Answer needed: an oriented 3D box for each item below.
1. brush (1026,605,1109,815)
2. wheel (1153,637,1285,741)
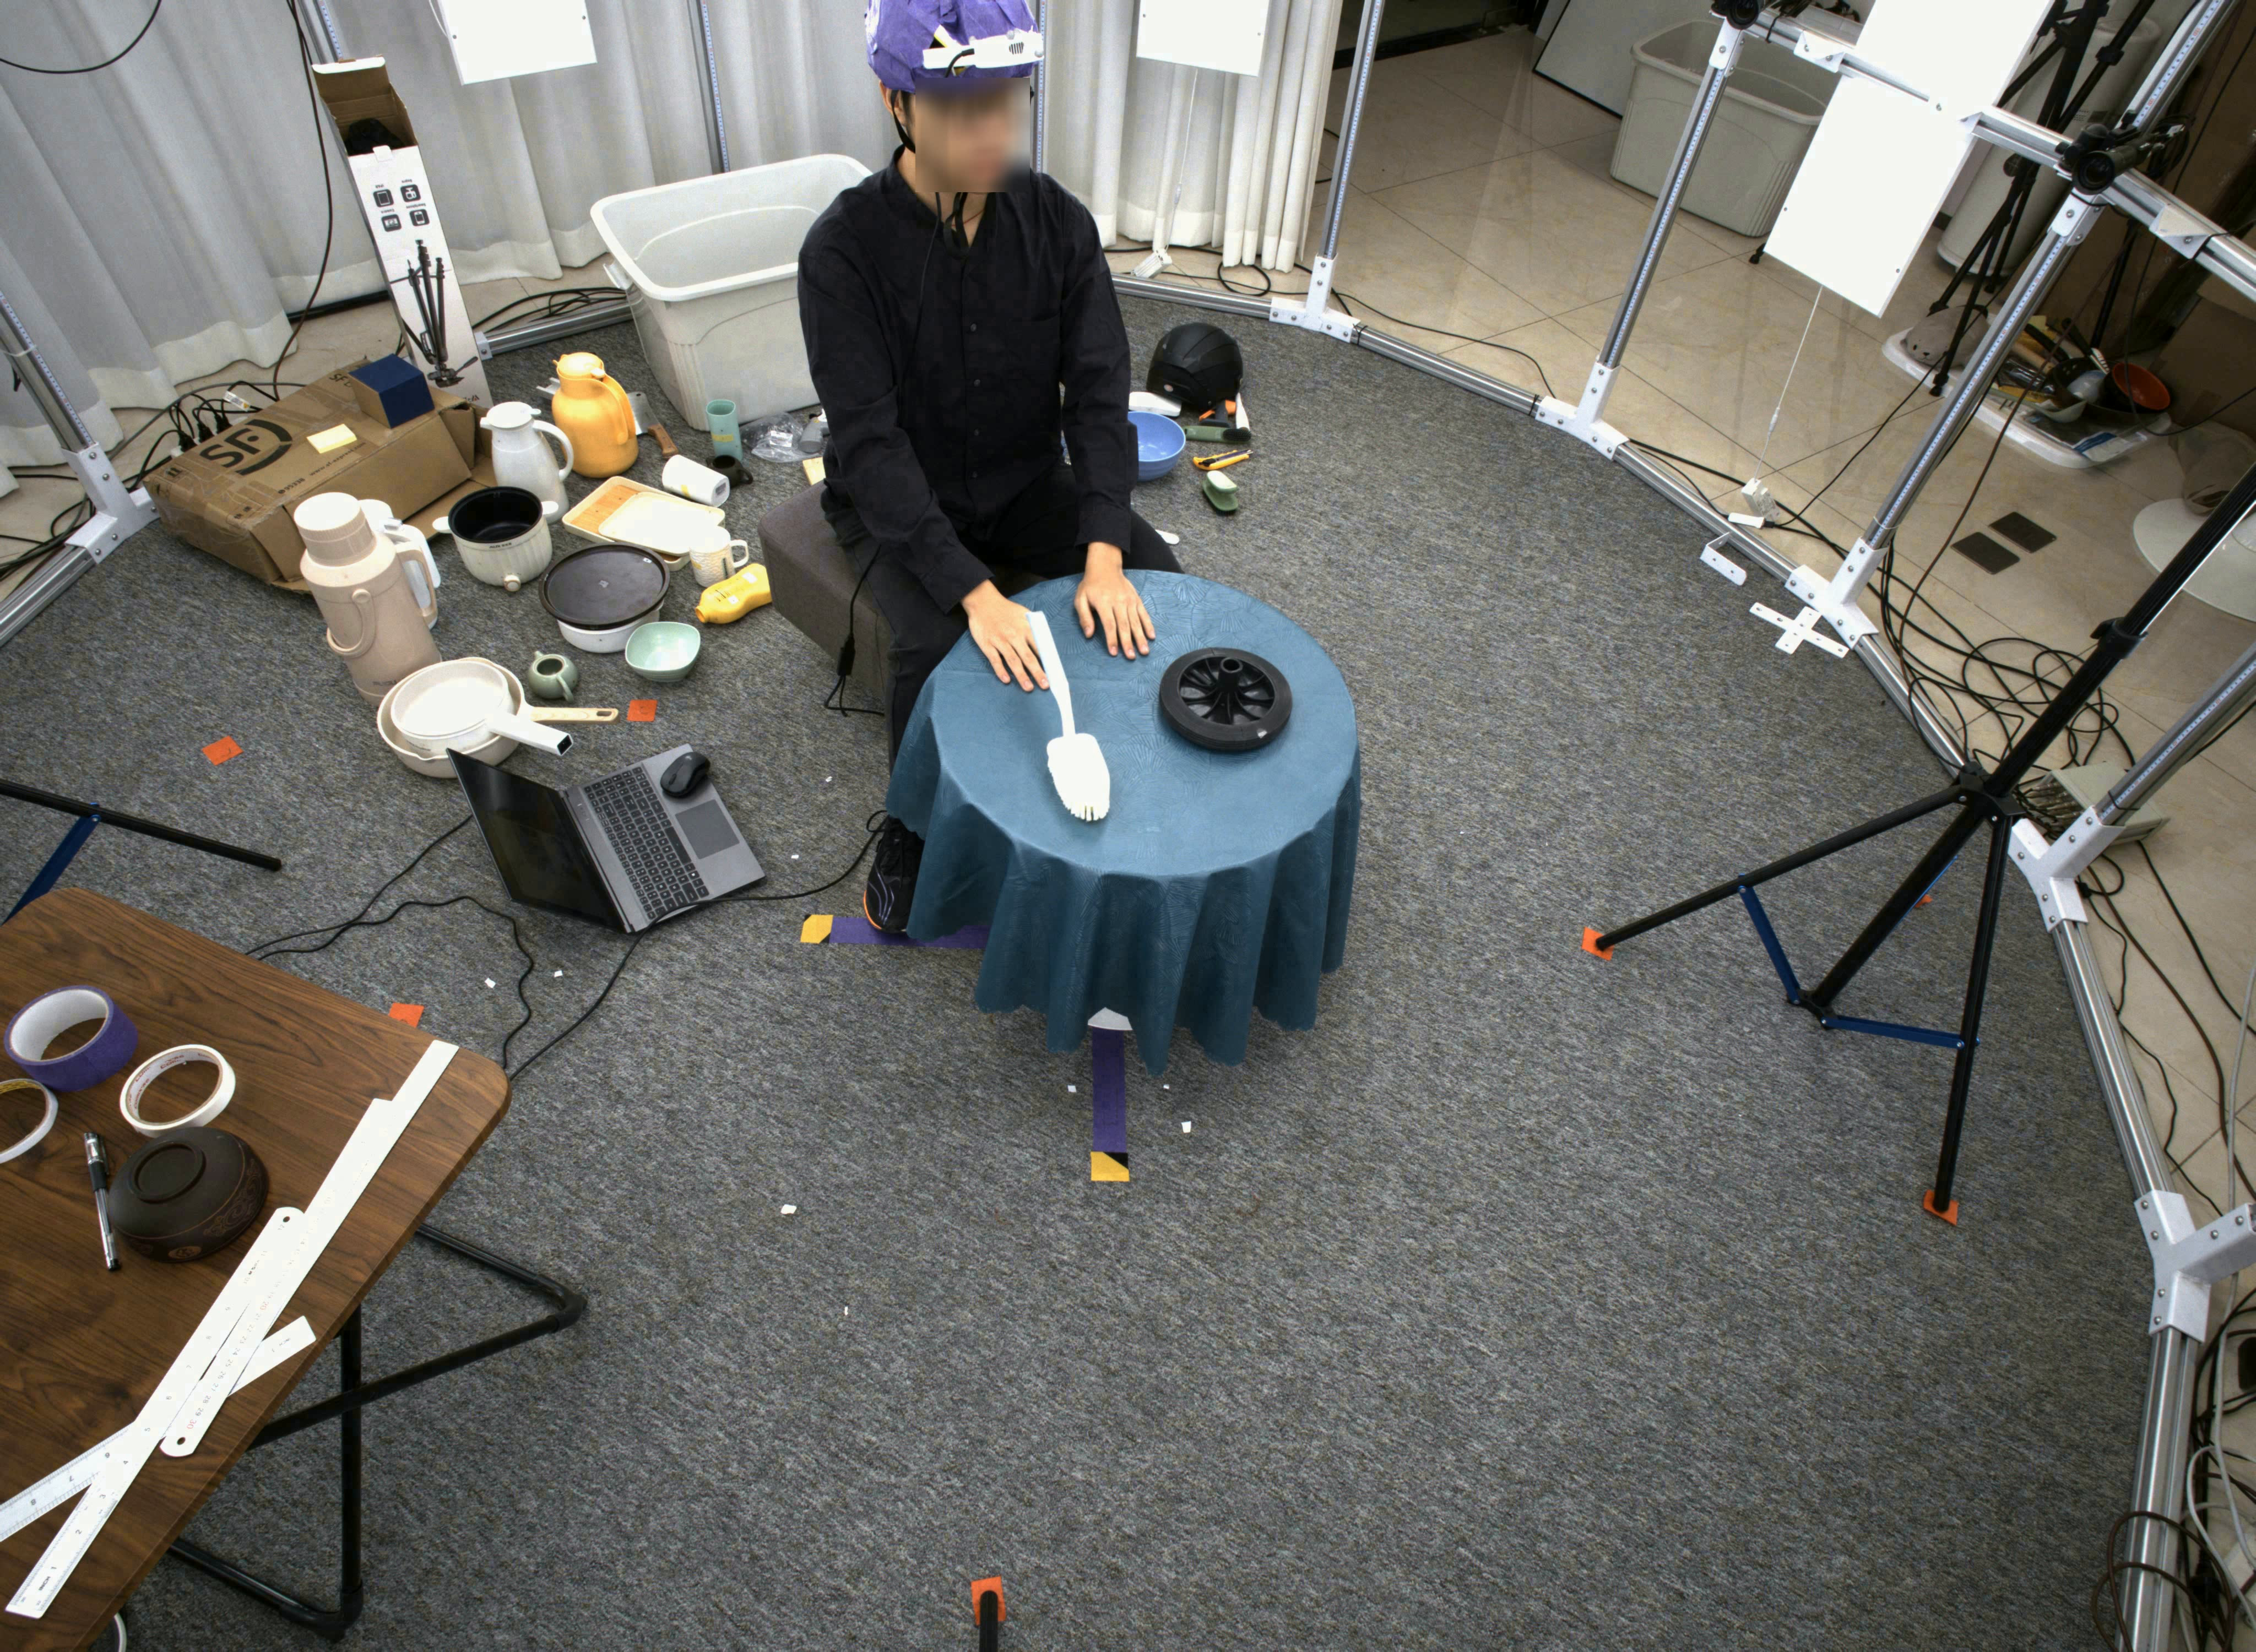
[{"bbox_3d":[-0.086,-0.155,1.742,0.082,0.083,0.332,11,51,-45],"label":"brush"},{"bbox_3d":[0.130,-0.209,1.805,0.191,0.077,0.190,-36,61,-28],"label":"wheel"}]
